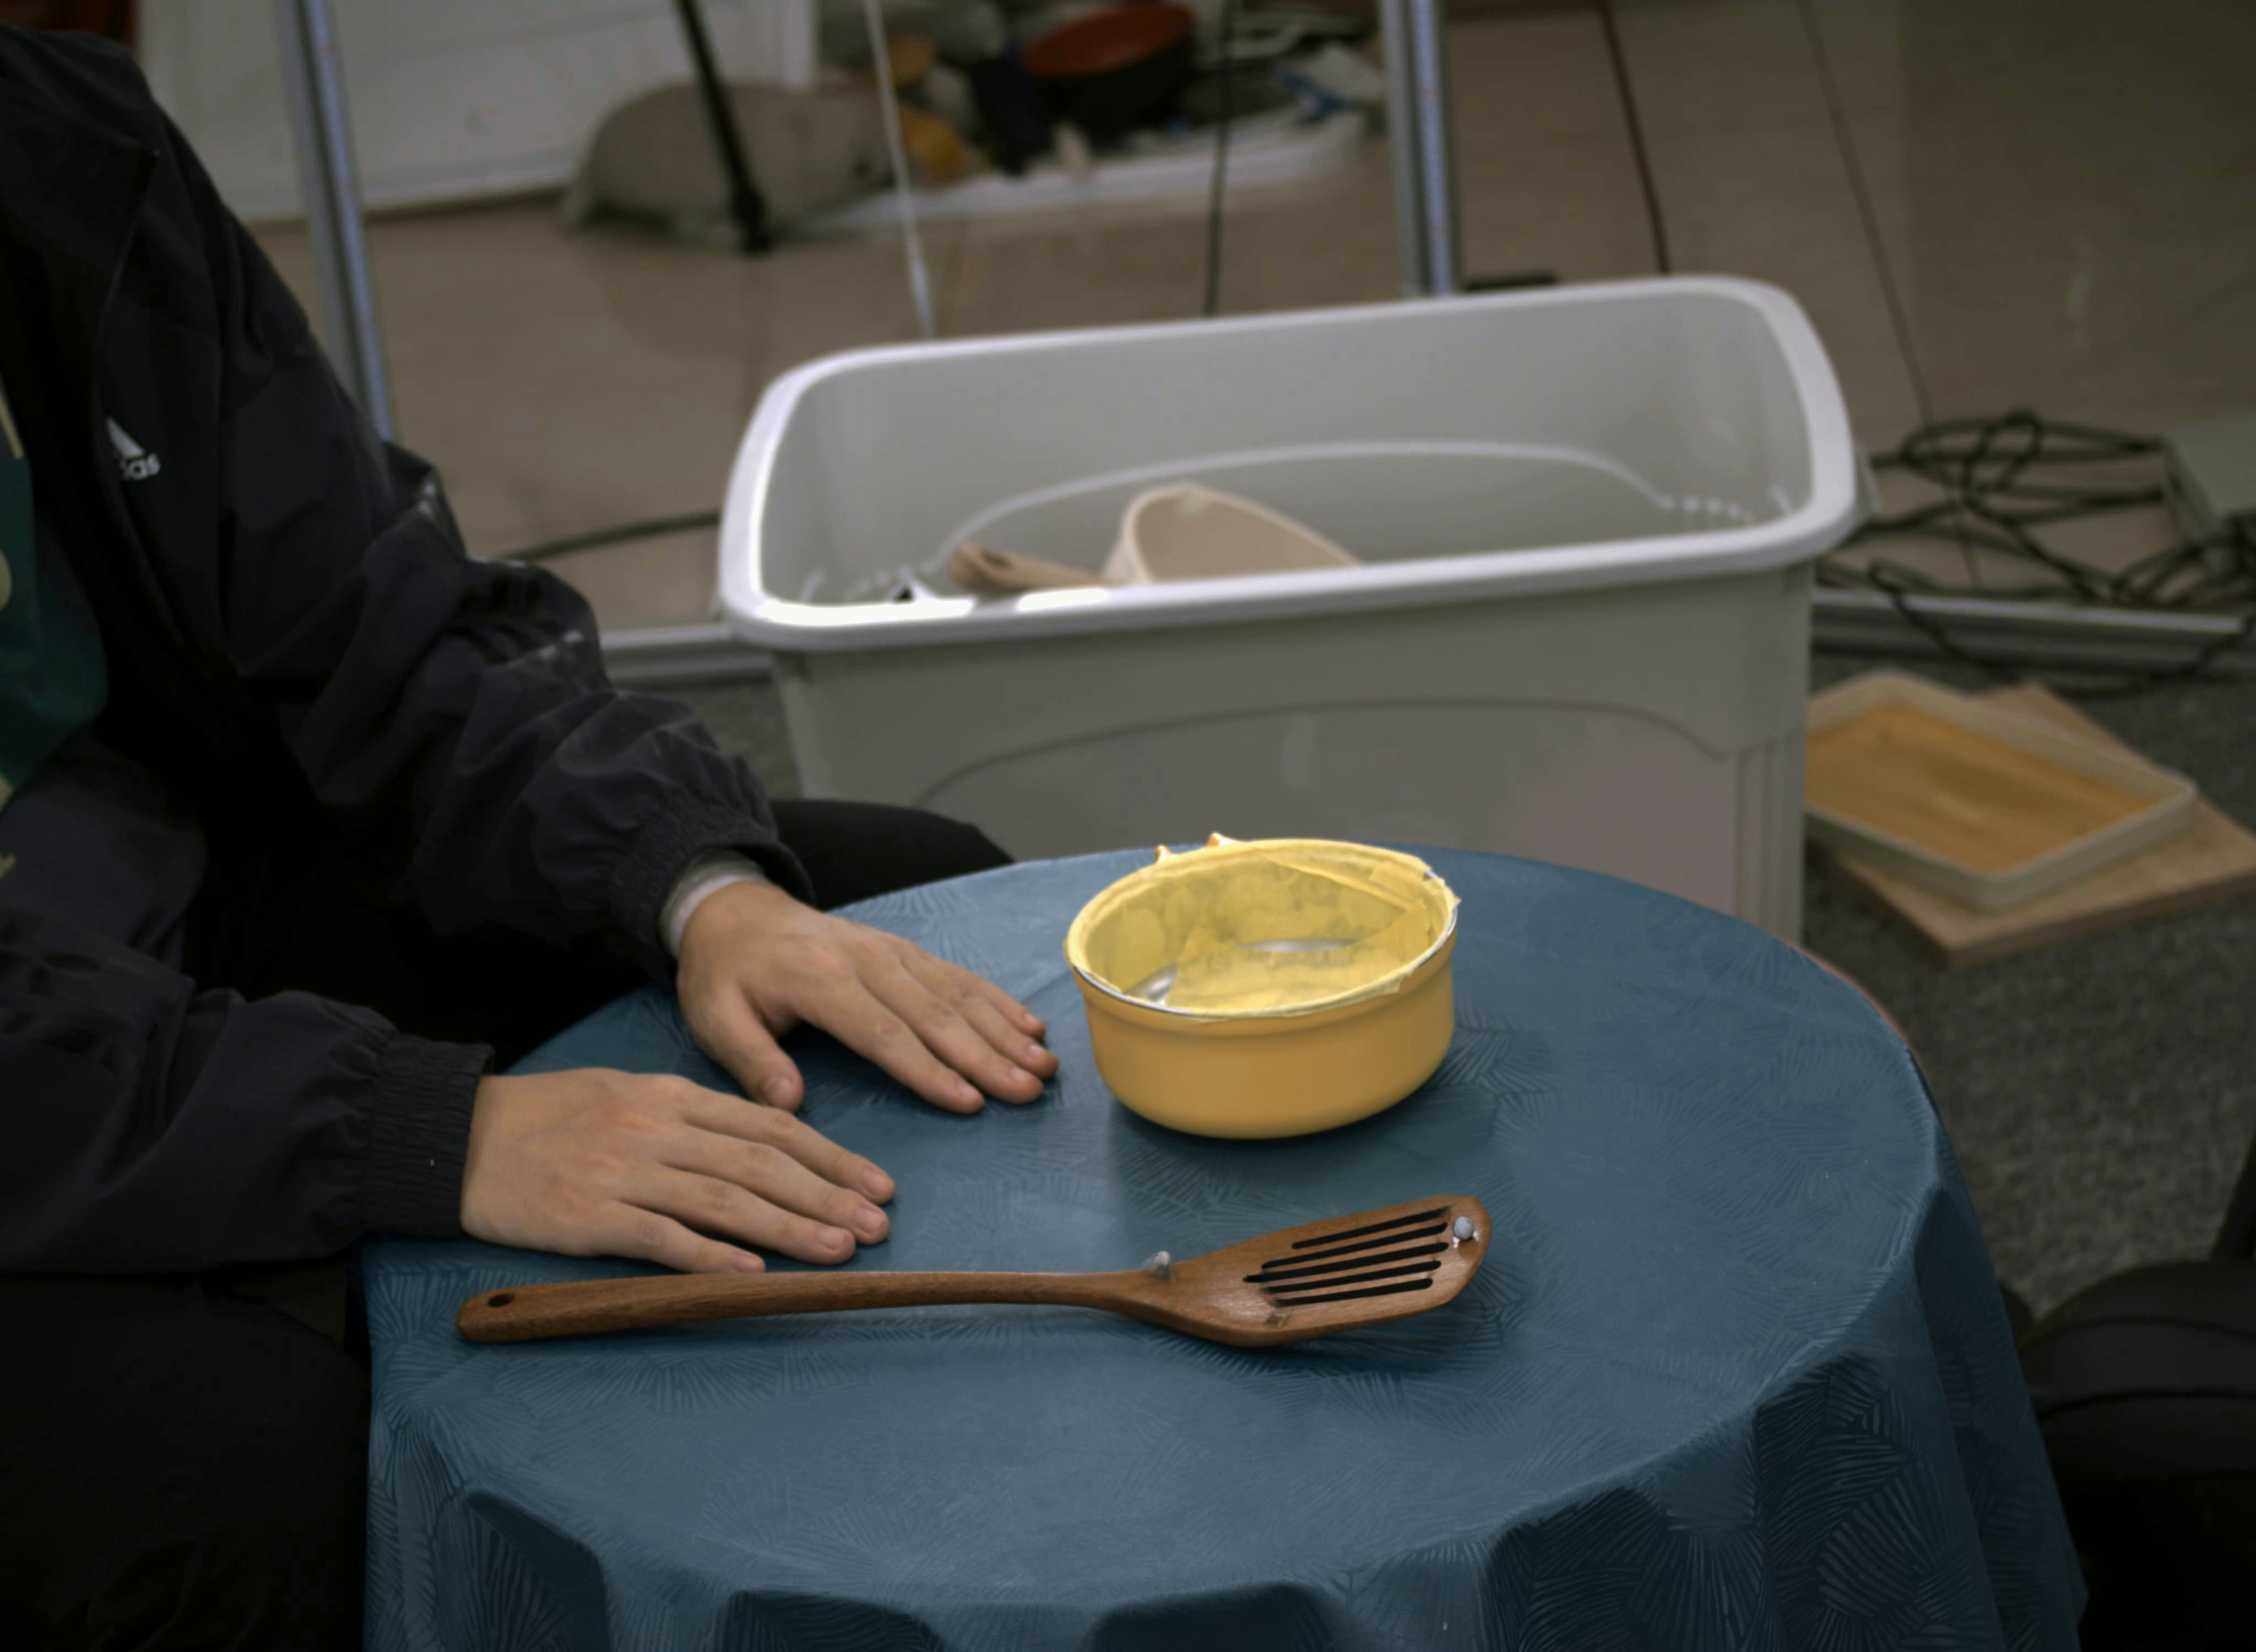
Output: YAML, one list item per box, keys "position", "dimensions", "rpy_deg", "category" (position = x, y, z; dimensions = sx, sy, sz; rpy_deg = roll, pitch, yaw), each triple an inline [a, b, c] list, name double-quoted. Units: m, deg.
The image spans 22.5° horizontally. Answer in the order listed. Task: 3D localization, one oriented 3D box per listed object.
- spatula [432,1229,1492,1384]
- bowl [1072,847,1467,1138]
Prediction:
- position: [-0.060, 0.181, 2.061]
  dimensions: [0.386, 0.024, 0.084]
  rpy_deg: [-4, 16, 0]
  category: "spatula"
- position: [0.053, 0.063, 2.221]
  dimensions: [0.152, 0.075, 0.177]
  rpy_deg: [-14, 26, -18]
  category: "bowl"
